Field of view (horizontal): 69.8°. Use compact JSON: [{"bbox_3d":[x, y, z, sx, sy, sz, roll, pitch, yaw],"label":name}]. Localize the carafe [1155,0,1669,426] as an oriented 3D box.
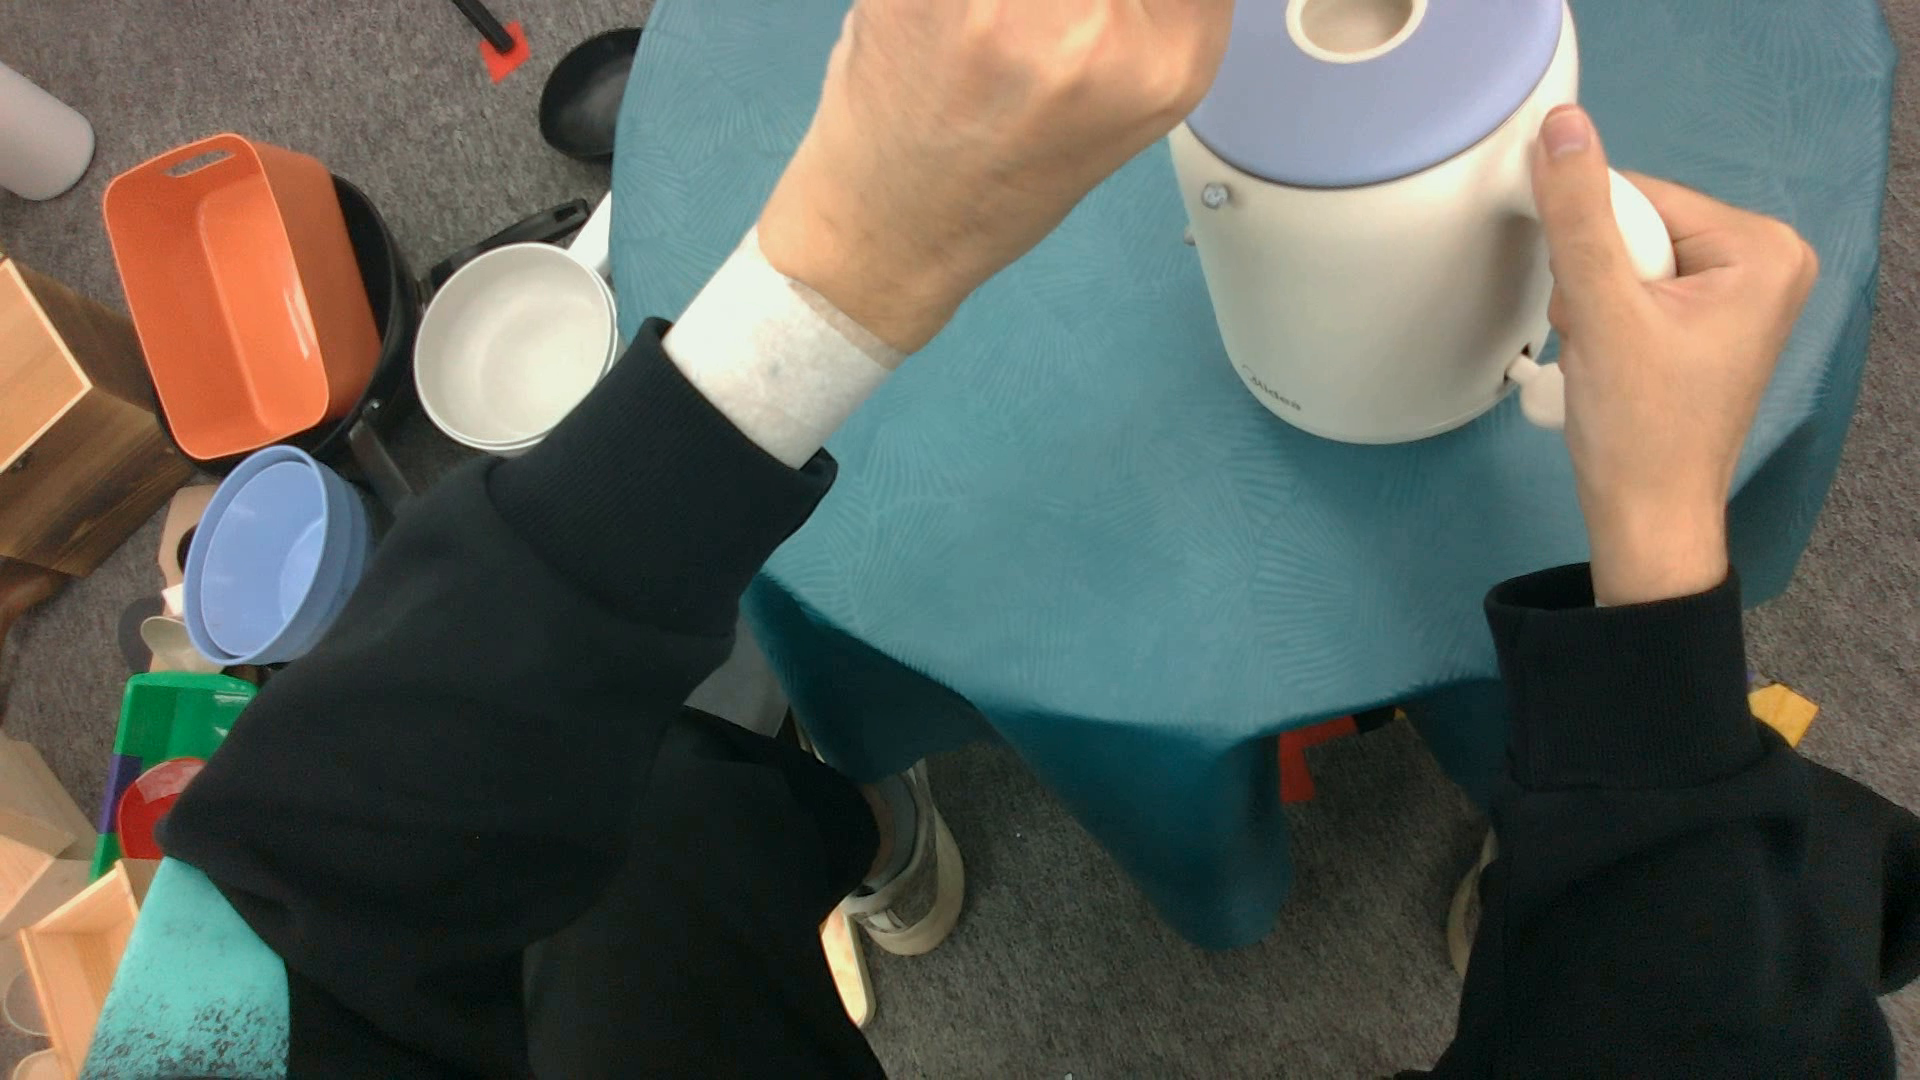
[{"bbox_3d":[0.163,-0.120,0.496,0.191,0.182,0.132,40,85,26],"label":"carafe"}]
